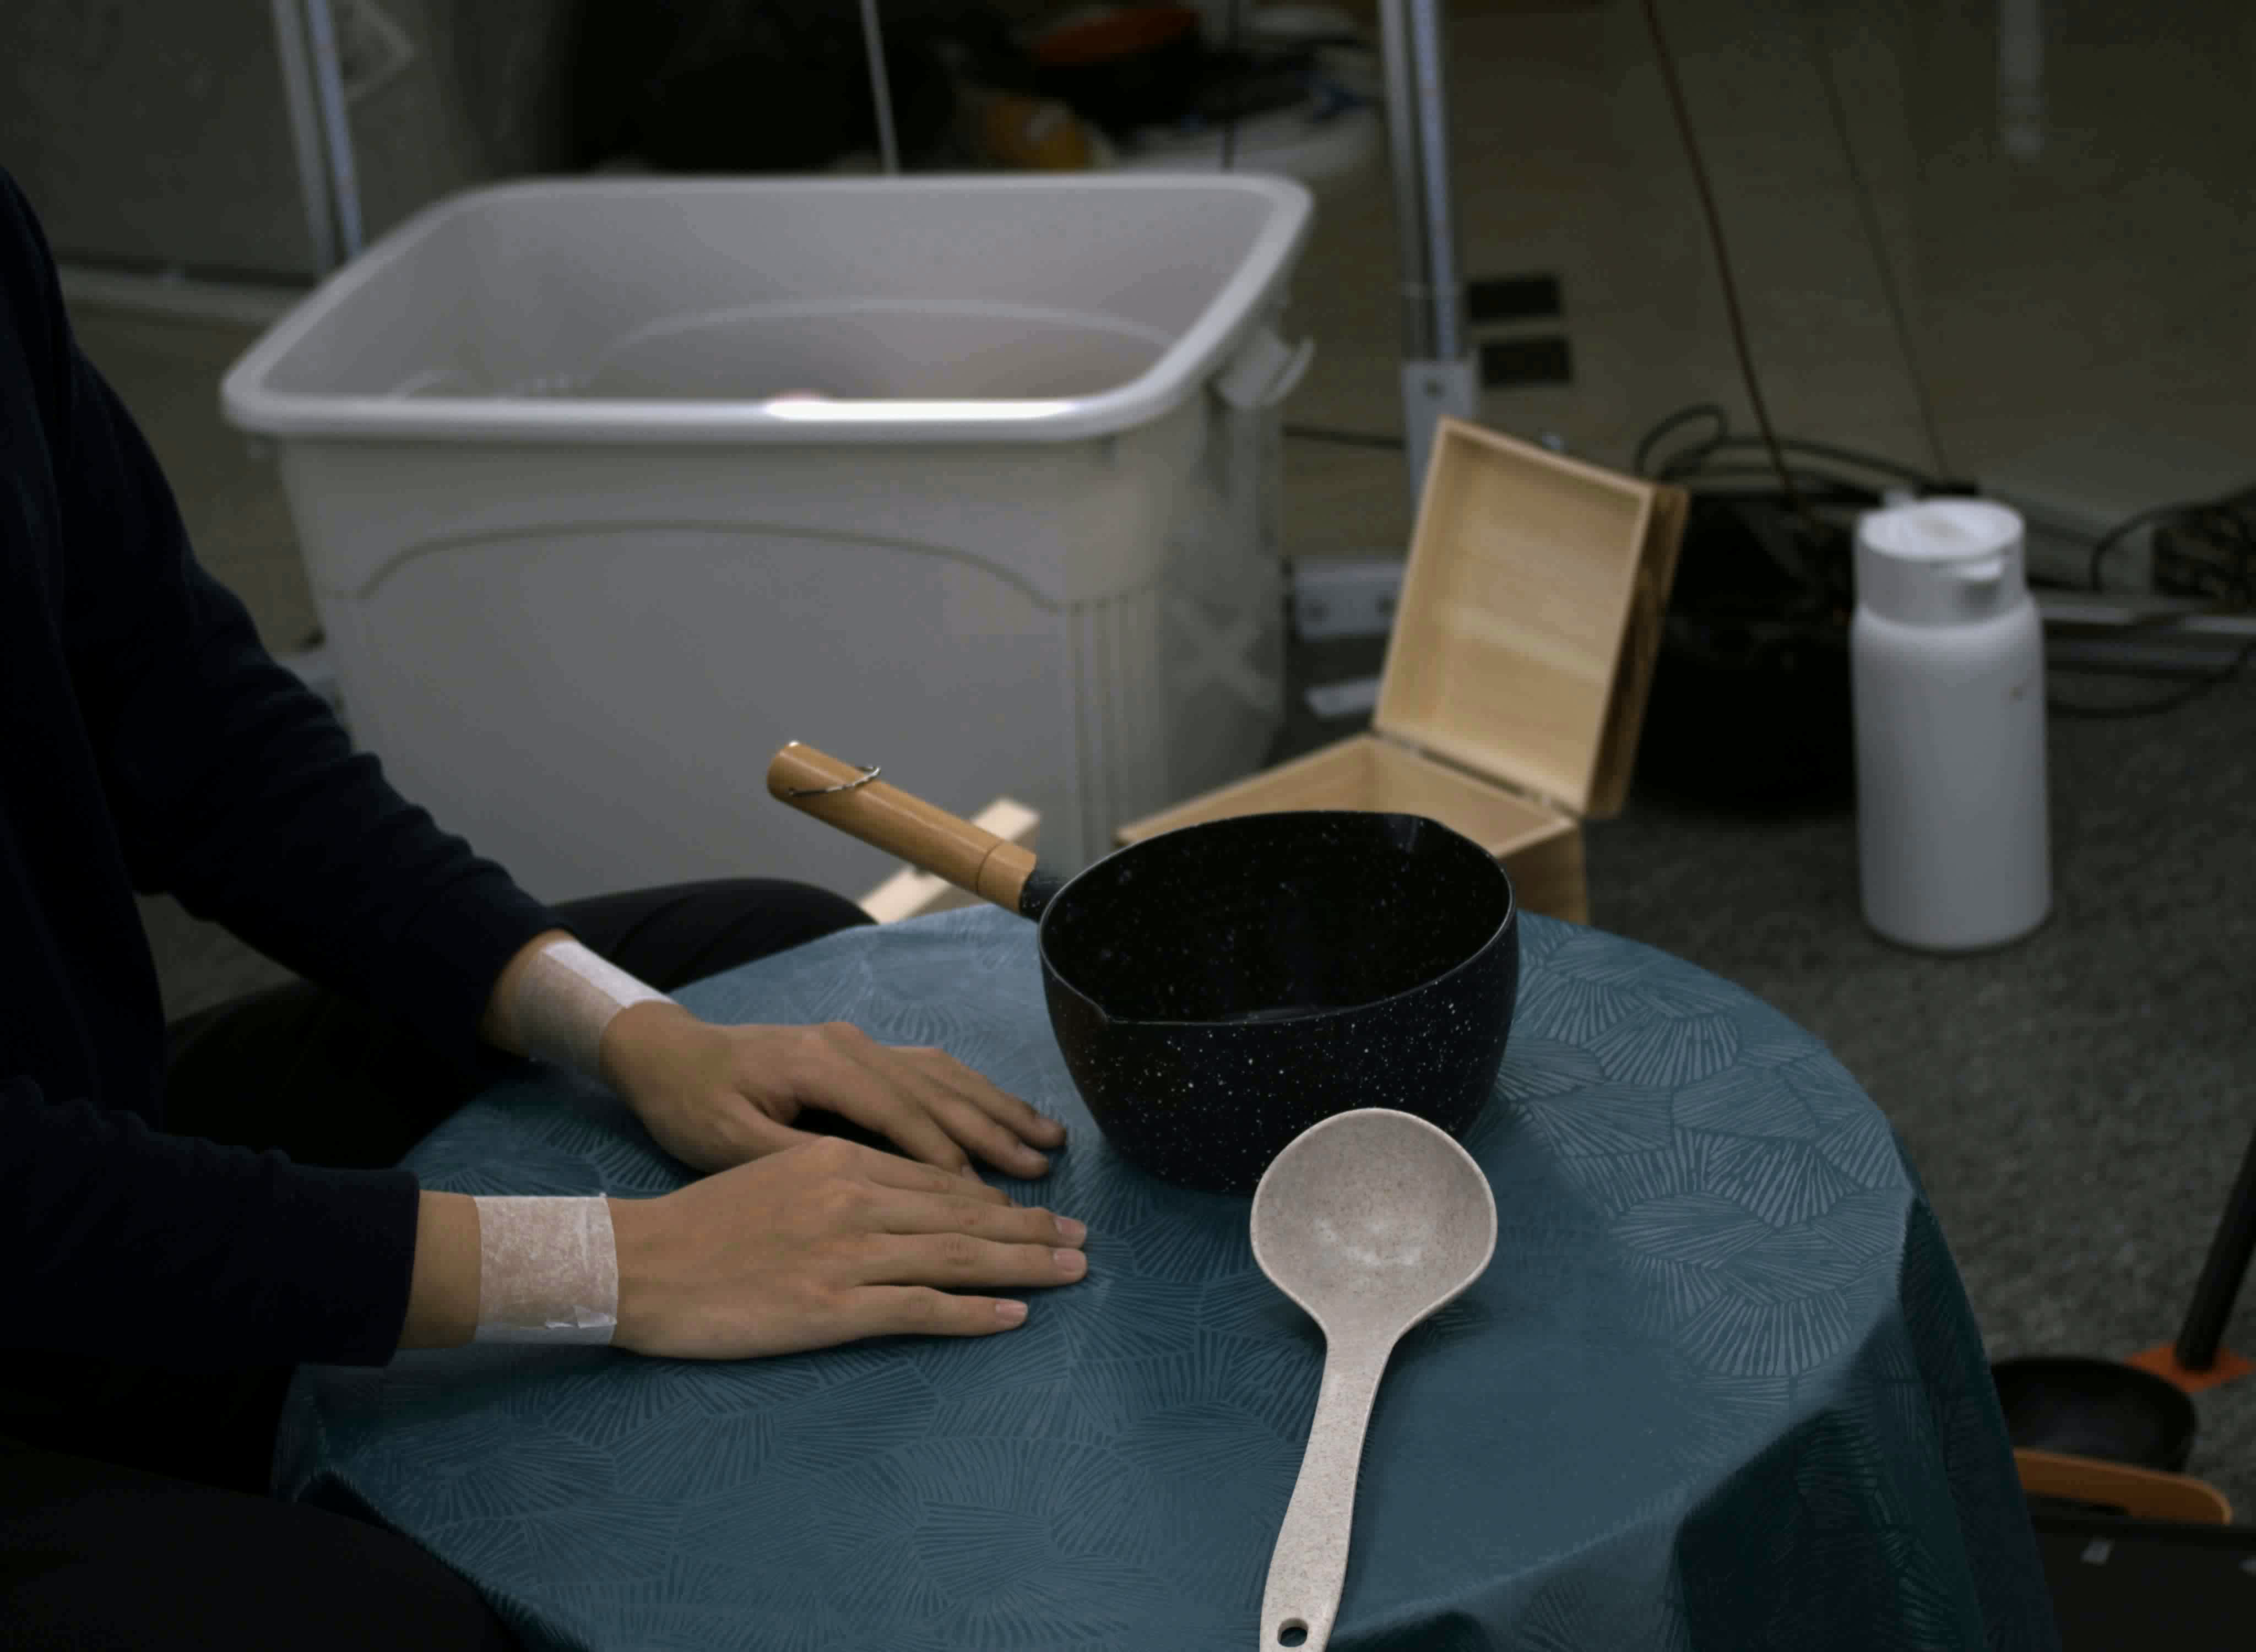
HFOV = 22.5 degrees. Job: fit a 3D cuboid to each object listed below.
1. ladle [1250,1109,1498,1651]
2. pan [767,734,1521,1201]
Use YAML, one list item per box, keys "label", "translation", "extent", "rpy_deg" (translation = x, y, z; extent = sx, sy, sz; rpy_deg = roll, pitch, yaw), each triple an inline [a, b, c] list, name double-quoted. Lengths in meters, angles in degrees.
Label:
- label: "ladle"
  translation: [0.070, 0.192, 1.941]
  extent: [0.089, 0.070, 0.271]
  rpy_deg: [5, 28, 8]
- label: "pan"
  translation: [-0.004, 0.046, 2.217]
  extent: [0.341, 0.110, 0.205]
  rpy_deg: [14, 33, 34]
